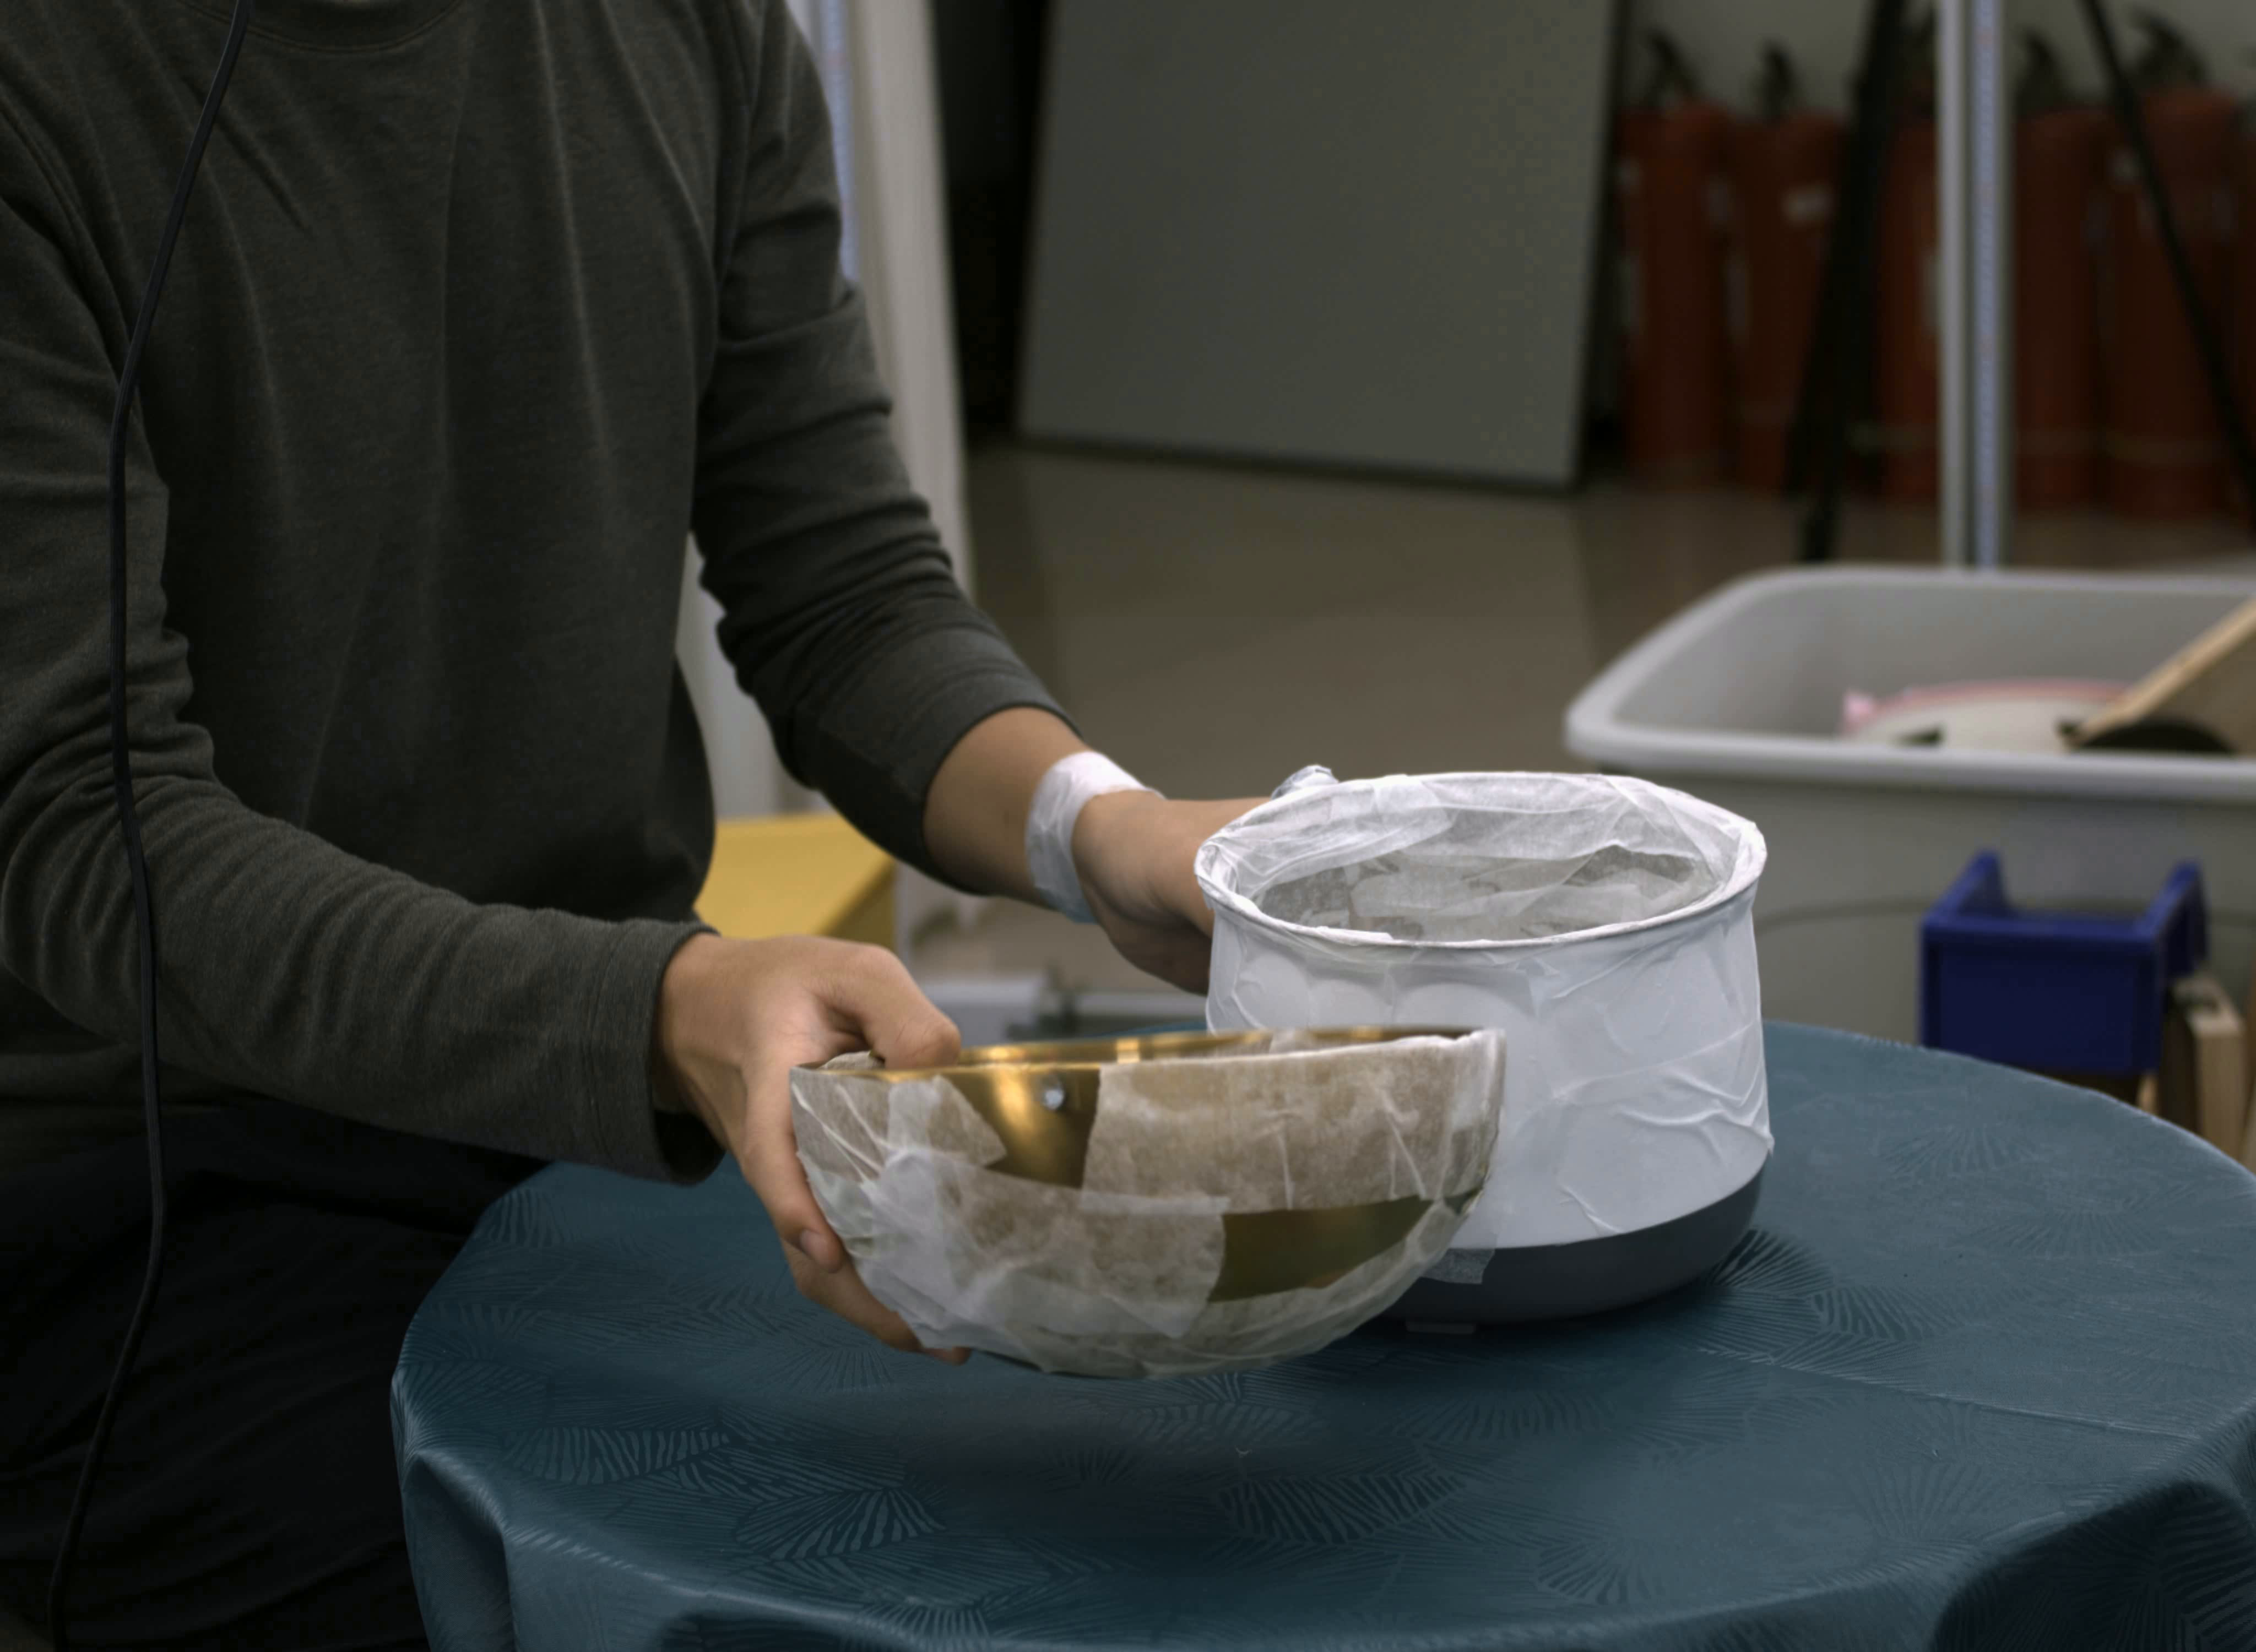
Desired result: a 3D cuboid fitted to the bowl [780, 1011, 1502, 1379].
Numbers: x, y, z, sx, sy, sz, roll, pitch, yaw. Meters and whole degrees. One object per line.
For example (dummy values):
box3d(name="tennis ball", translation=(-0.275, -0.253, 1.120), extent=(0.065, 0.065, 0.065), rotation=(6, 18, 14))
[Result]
box3d(name="bowl", translation=(0.004, 0.103, 1.486), extent=(0.212, 0.096, 0.215), rotation=(-3, -3, -1))

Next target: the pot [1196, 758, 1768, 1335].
box3d(name="pot", translation=(0.096, 0.061, 1.684), extent=(0.175, 0.138, 0.236), rotation=(-11, 18, -28))
